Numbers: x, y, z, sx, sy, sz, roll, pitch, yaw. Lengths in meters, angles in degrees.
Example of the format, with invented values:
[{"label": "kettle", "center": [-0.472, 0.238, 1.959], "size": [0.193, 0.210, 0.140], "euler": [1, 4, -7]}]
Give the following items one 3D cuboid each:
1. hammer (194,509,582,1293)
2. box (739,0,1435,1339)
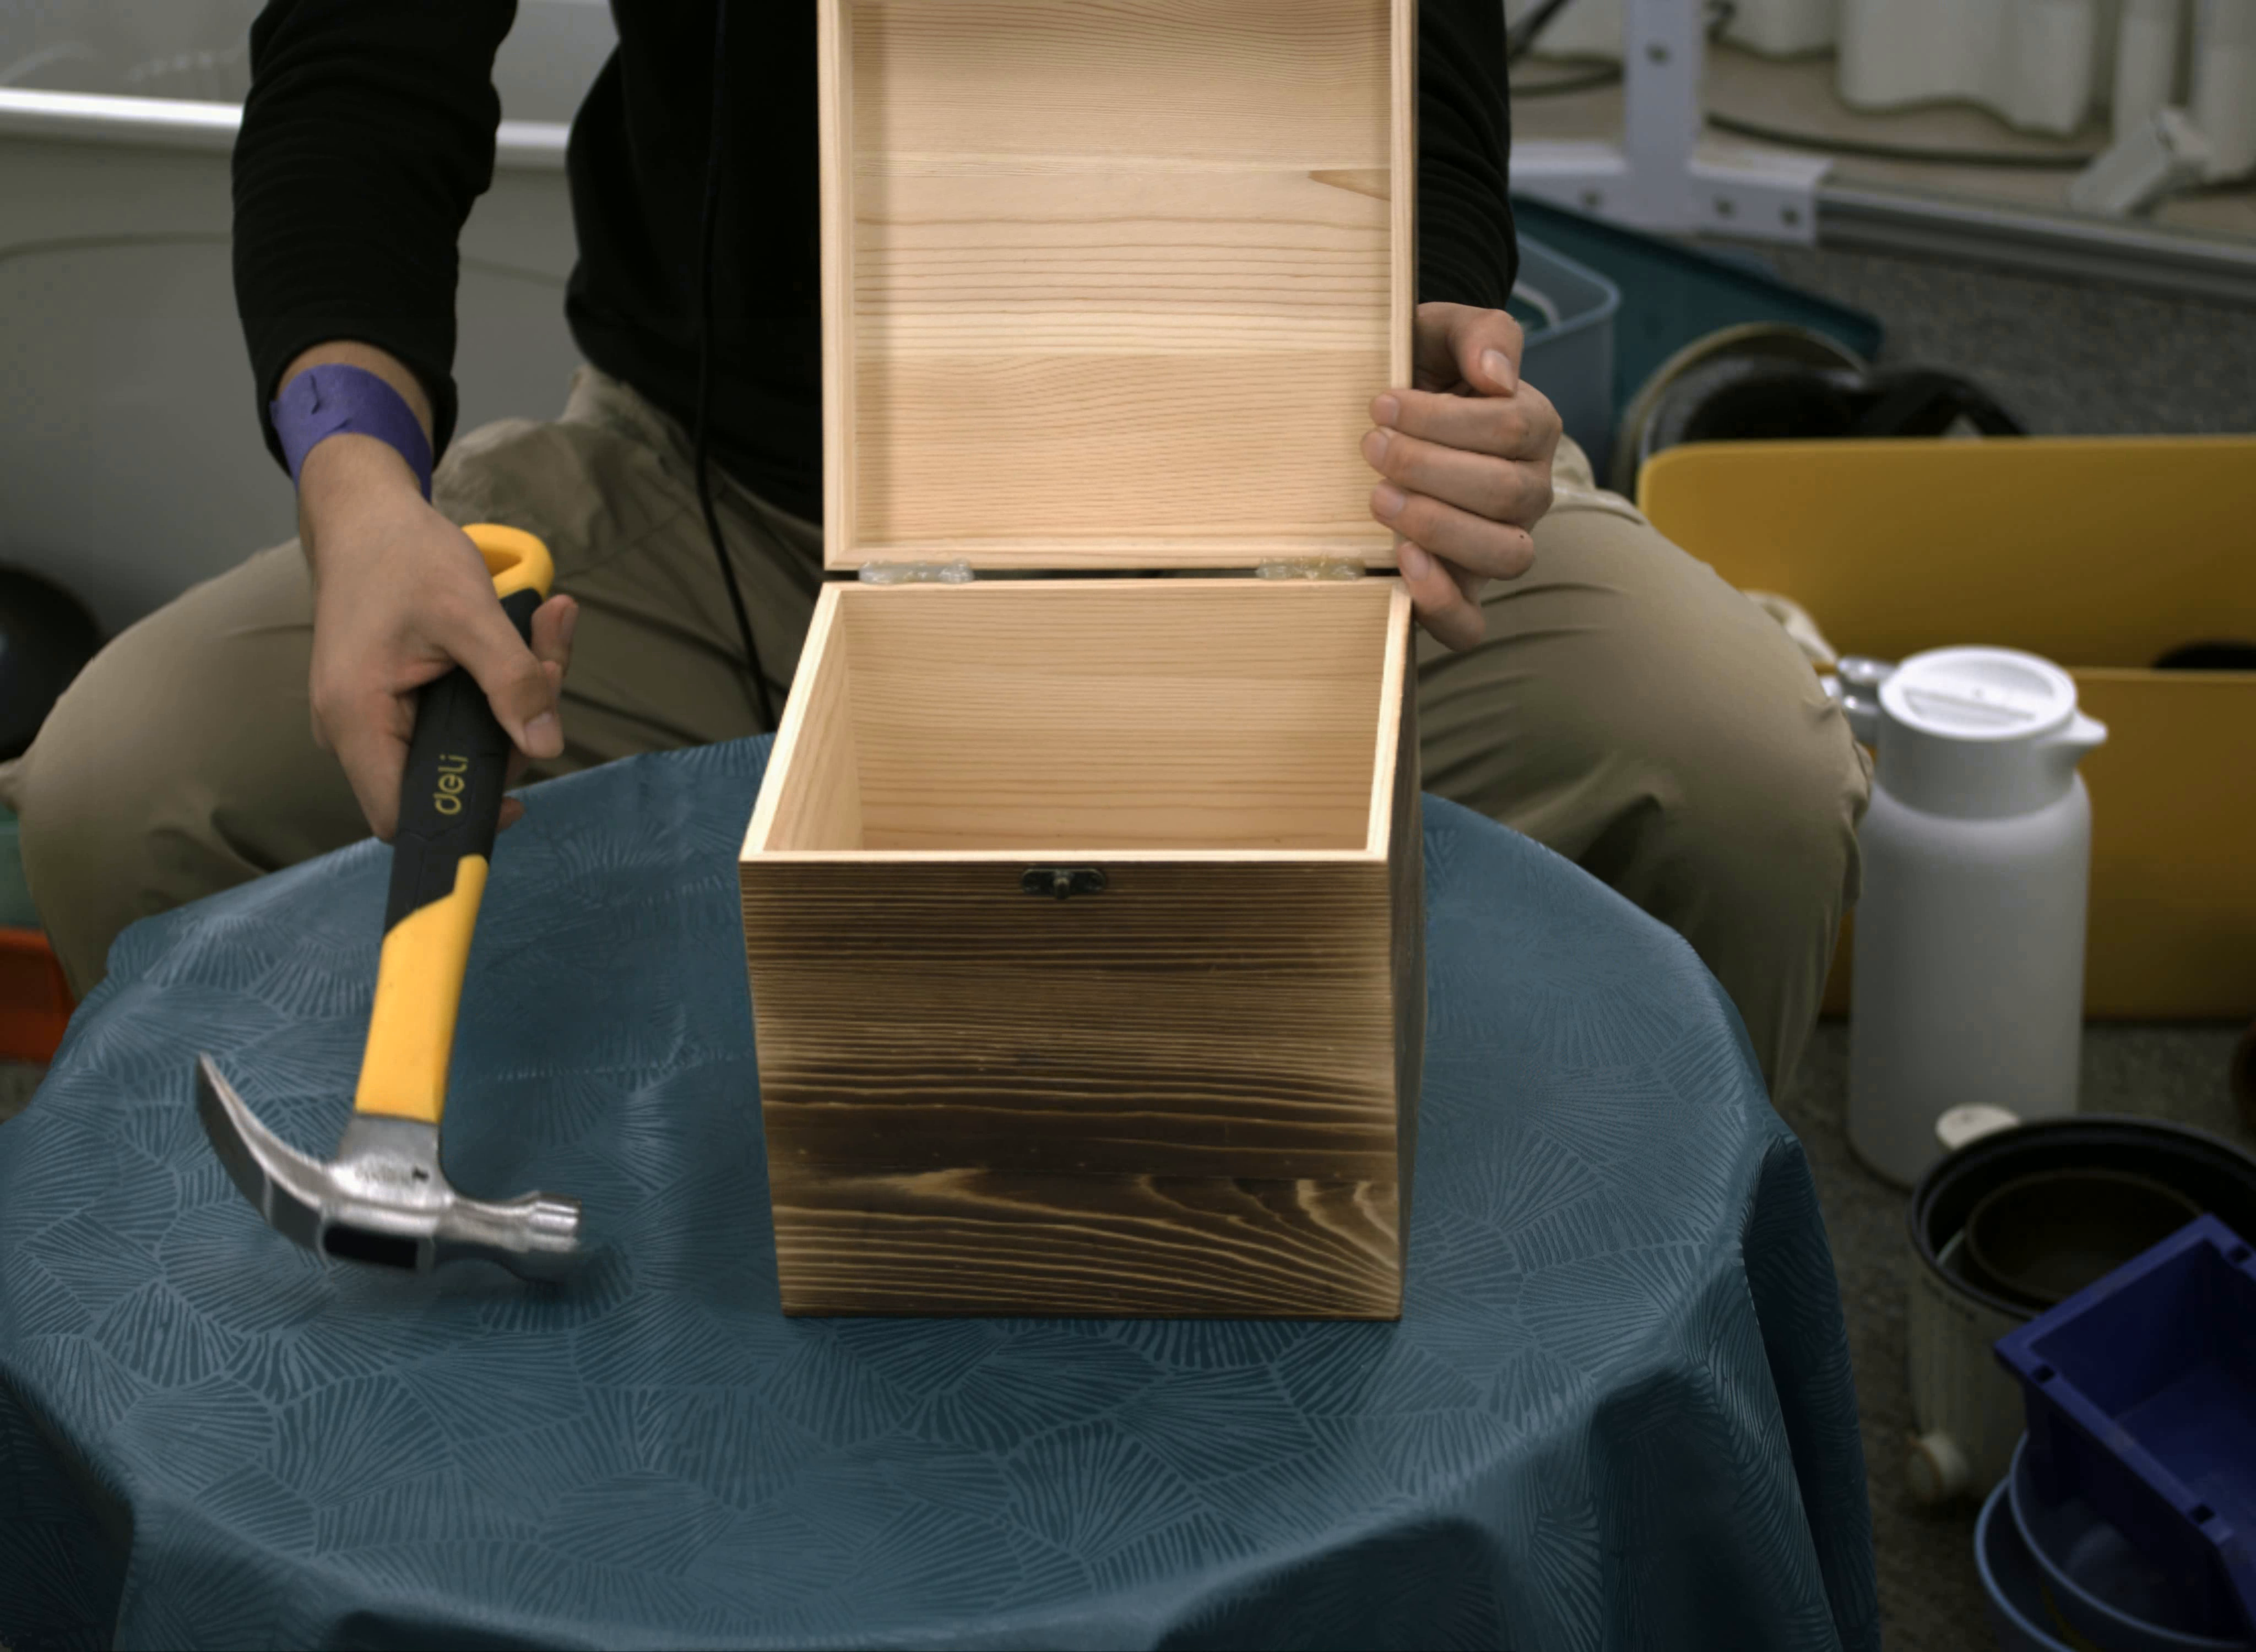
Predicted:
[{"label": "hammer", "center": [-0.234, 0.015, 1.916], "size": [0.131, 0.032, 0.345], "euler": [9, 45, -5]}, {"label": "box", "center": [-0.010, -0.070, 1.849], "size": [0.207, 0.372, 0.327], "euler": [-1, 25, 6]}]
